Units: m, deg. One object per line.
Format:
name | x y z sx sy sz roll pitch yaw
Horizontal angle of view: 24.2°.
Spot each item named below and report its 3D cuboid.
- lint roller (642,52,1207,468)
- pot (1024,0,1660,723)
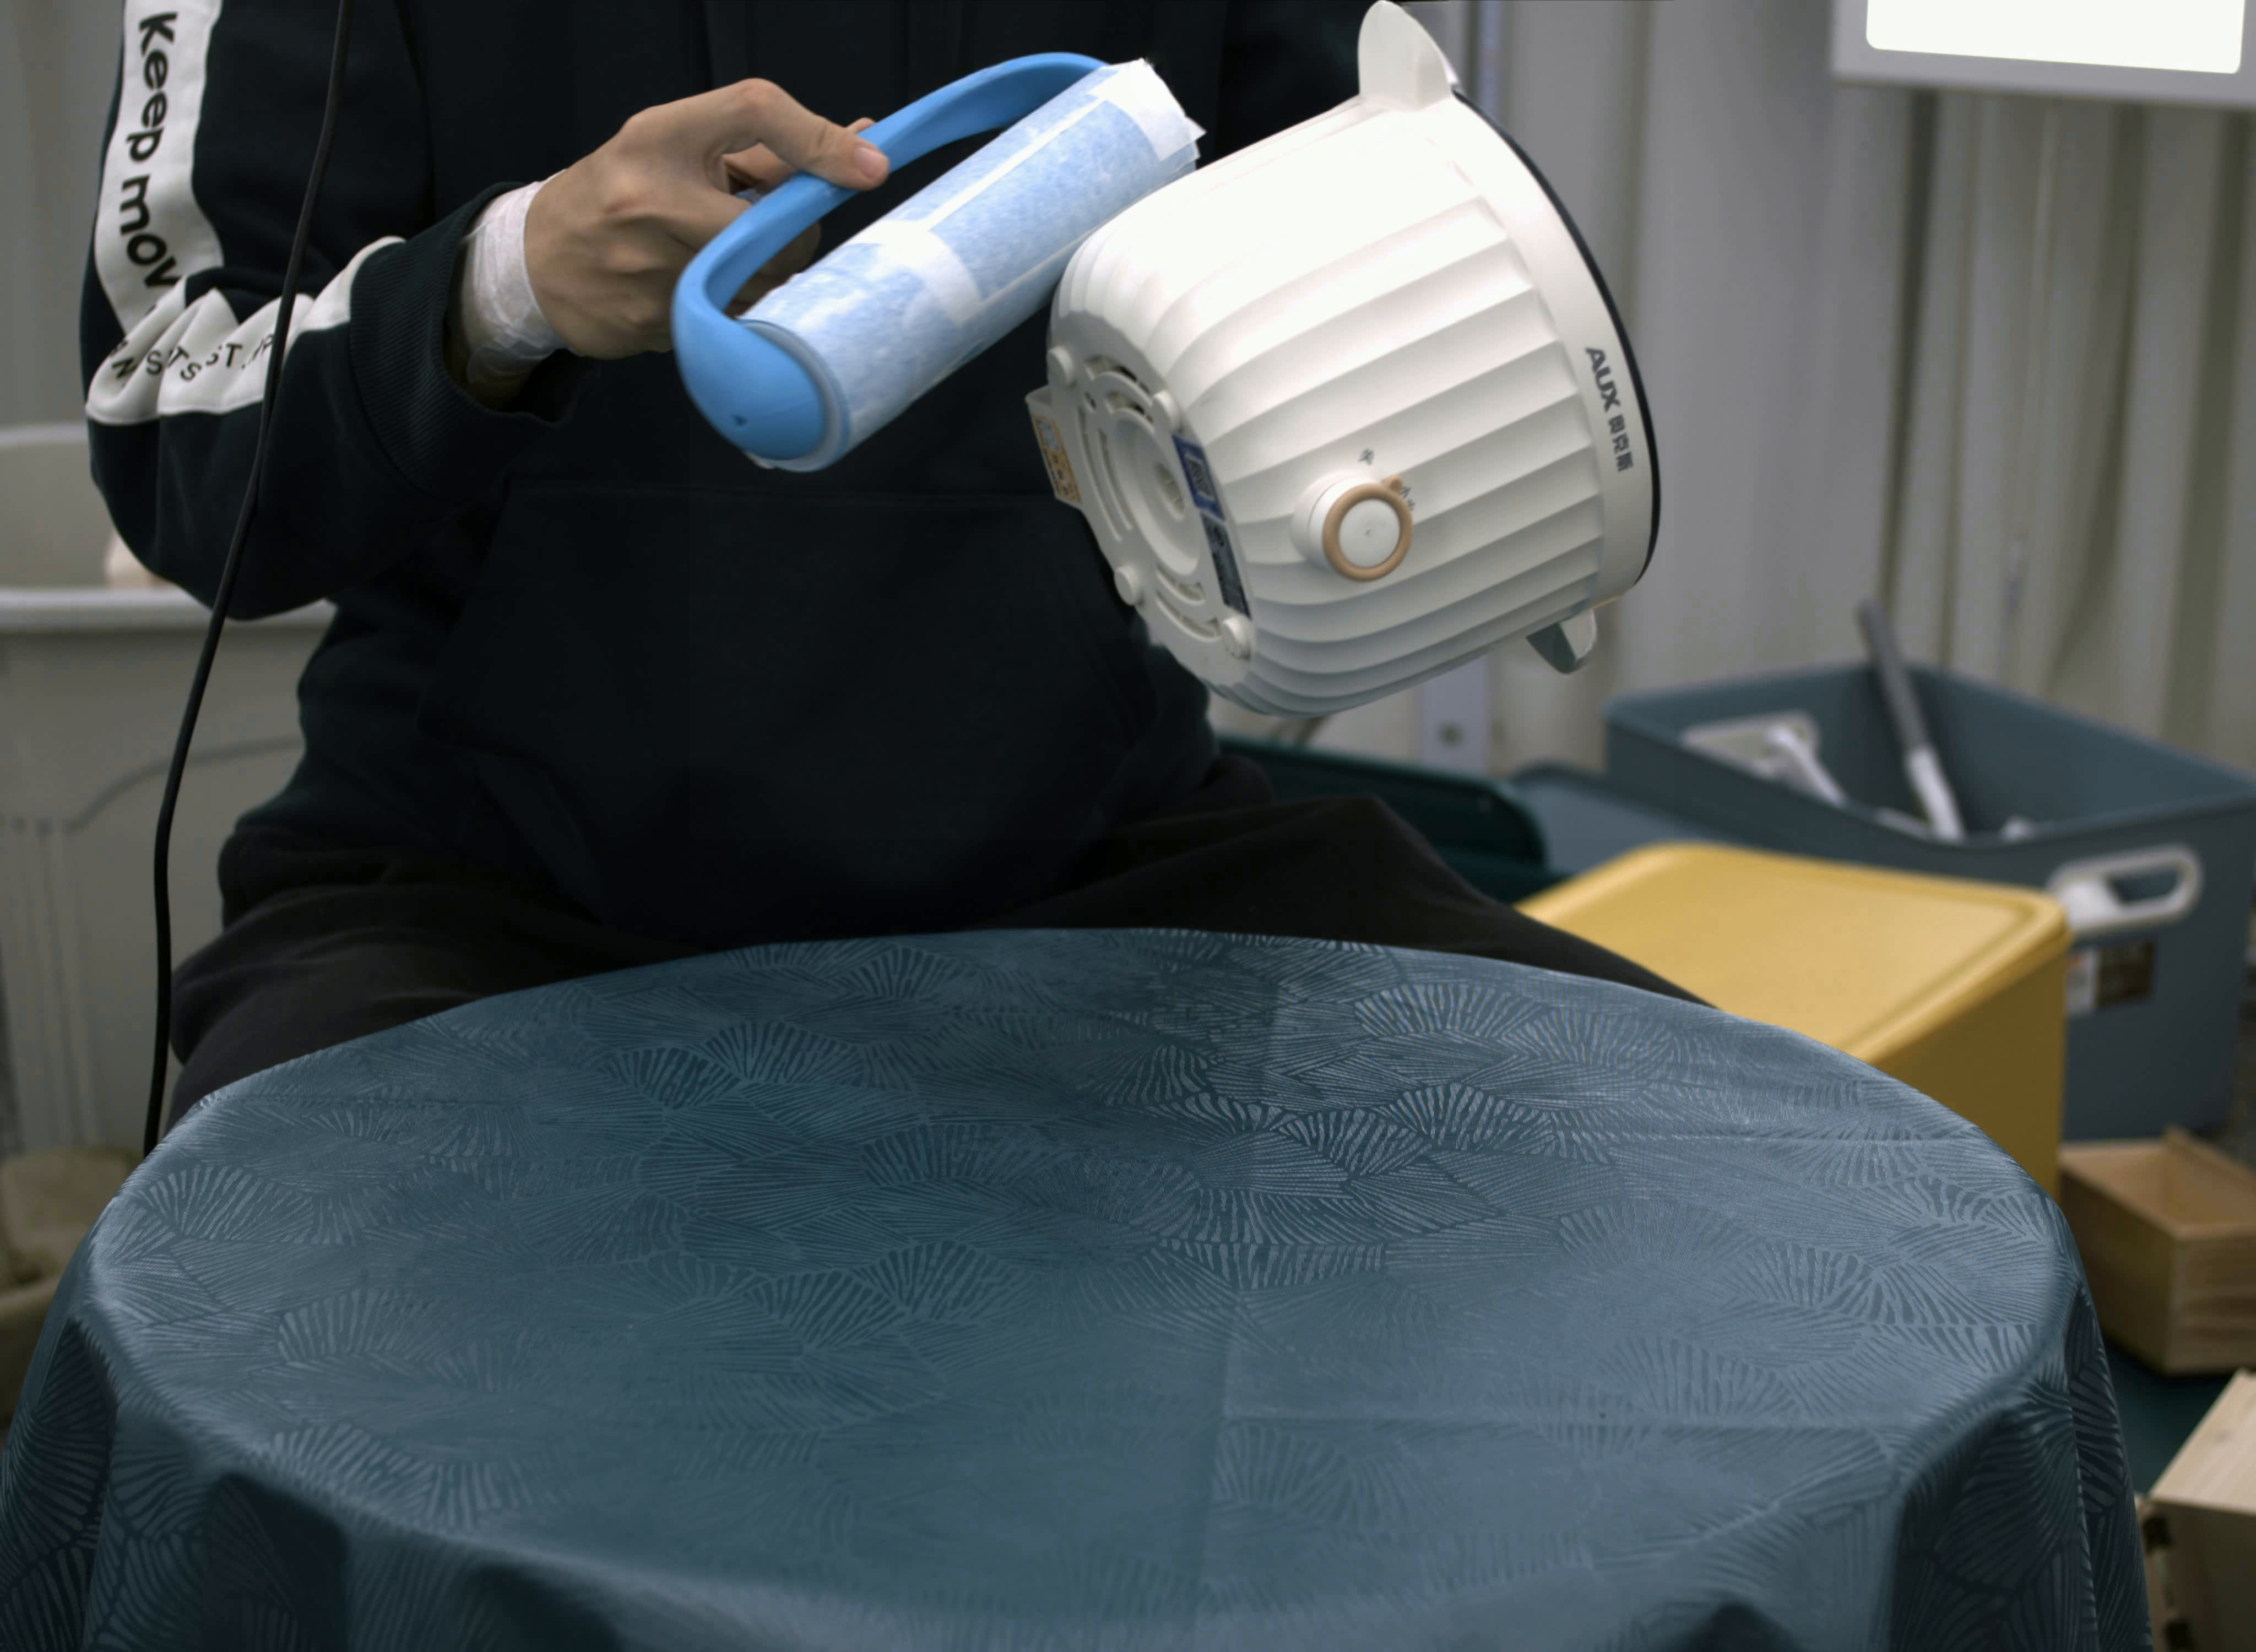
lint roller | -0.096 -0.181 1.704 0.178 0.069 0.228 0 31 34
pot | 0.066 -0.125 1.668 0.143 0.243 0.188 -28 27 -20
